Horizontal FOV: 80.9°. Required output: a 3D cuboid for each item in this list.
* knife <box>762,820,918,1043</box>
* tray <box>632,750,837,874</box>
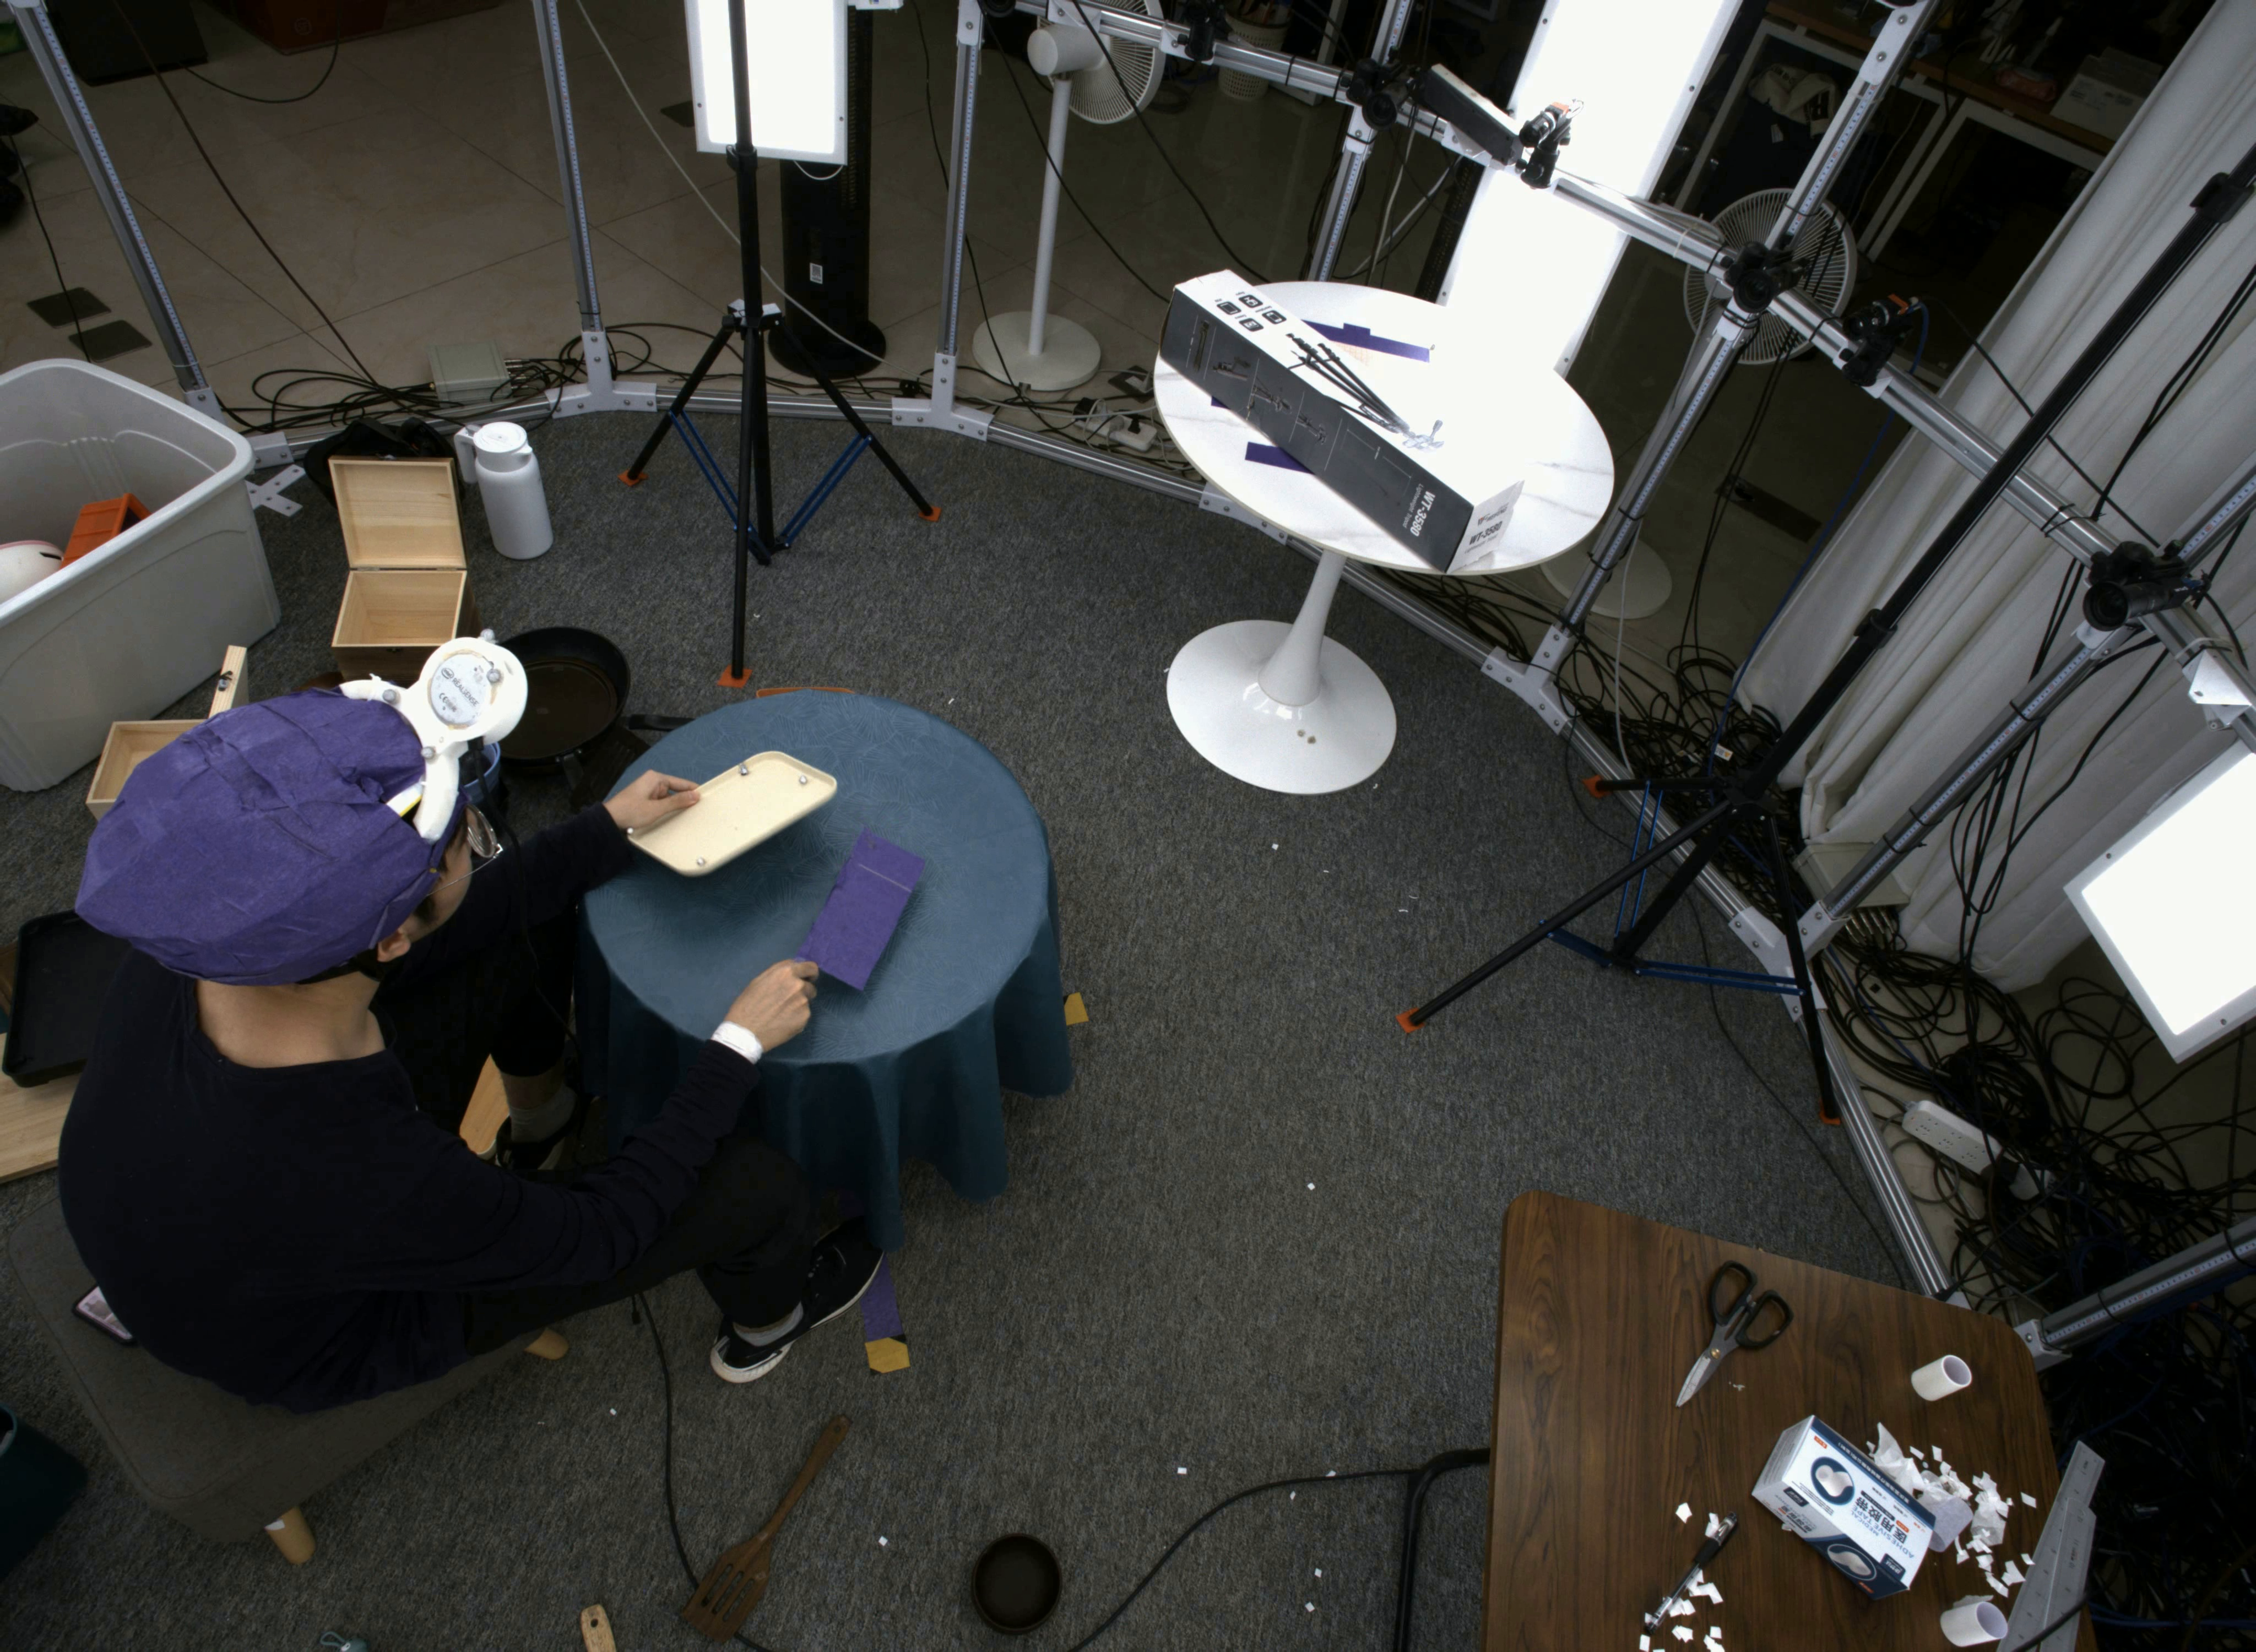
[{"bbox_3d":[-0.343,0.133,1.590,0.105,0.032,0.312,29,56,-15],"label":"knife"},{"bbox_3d":[-0.498,-0.021,1.639,0.165,0.018,0.240,22,44,37],"label":"tray"}]
